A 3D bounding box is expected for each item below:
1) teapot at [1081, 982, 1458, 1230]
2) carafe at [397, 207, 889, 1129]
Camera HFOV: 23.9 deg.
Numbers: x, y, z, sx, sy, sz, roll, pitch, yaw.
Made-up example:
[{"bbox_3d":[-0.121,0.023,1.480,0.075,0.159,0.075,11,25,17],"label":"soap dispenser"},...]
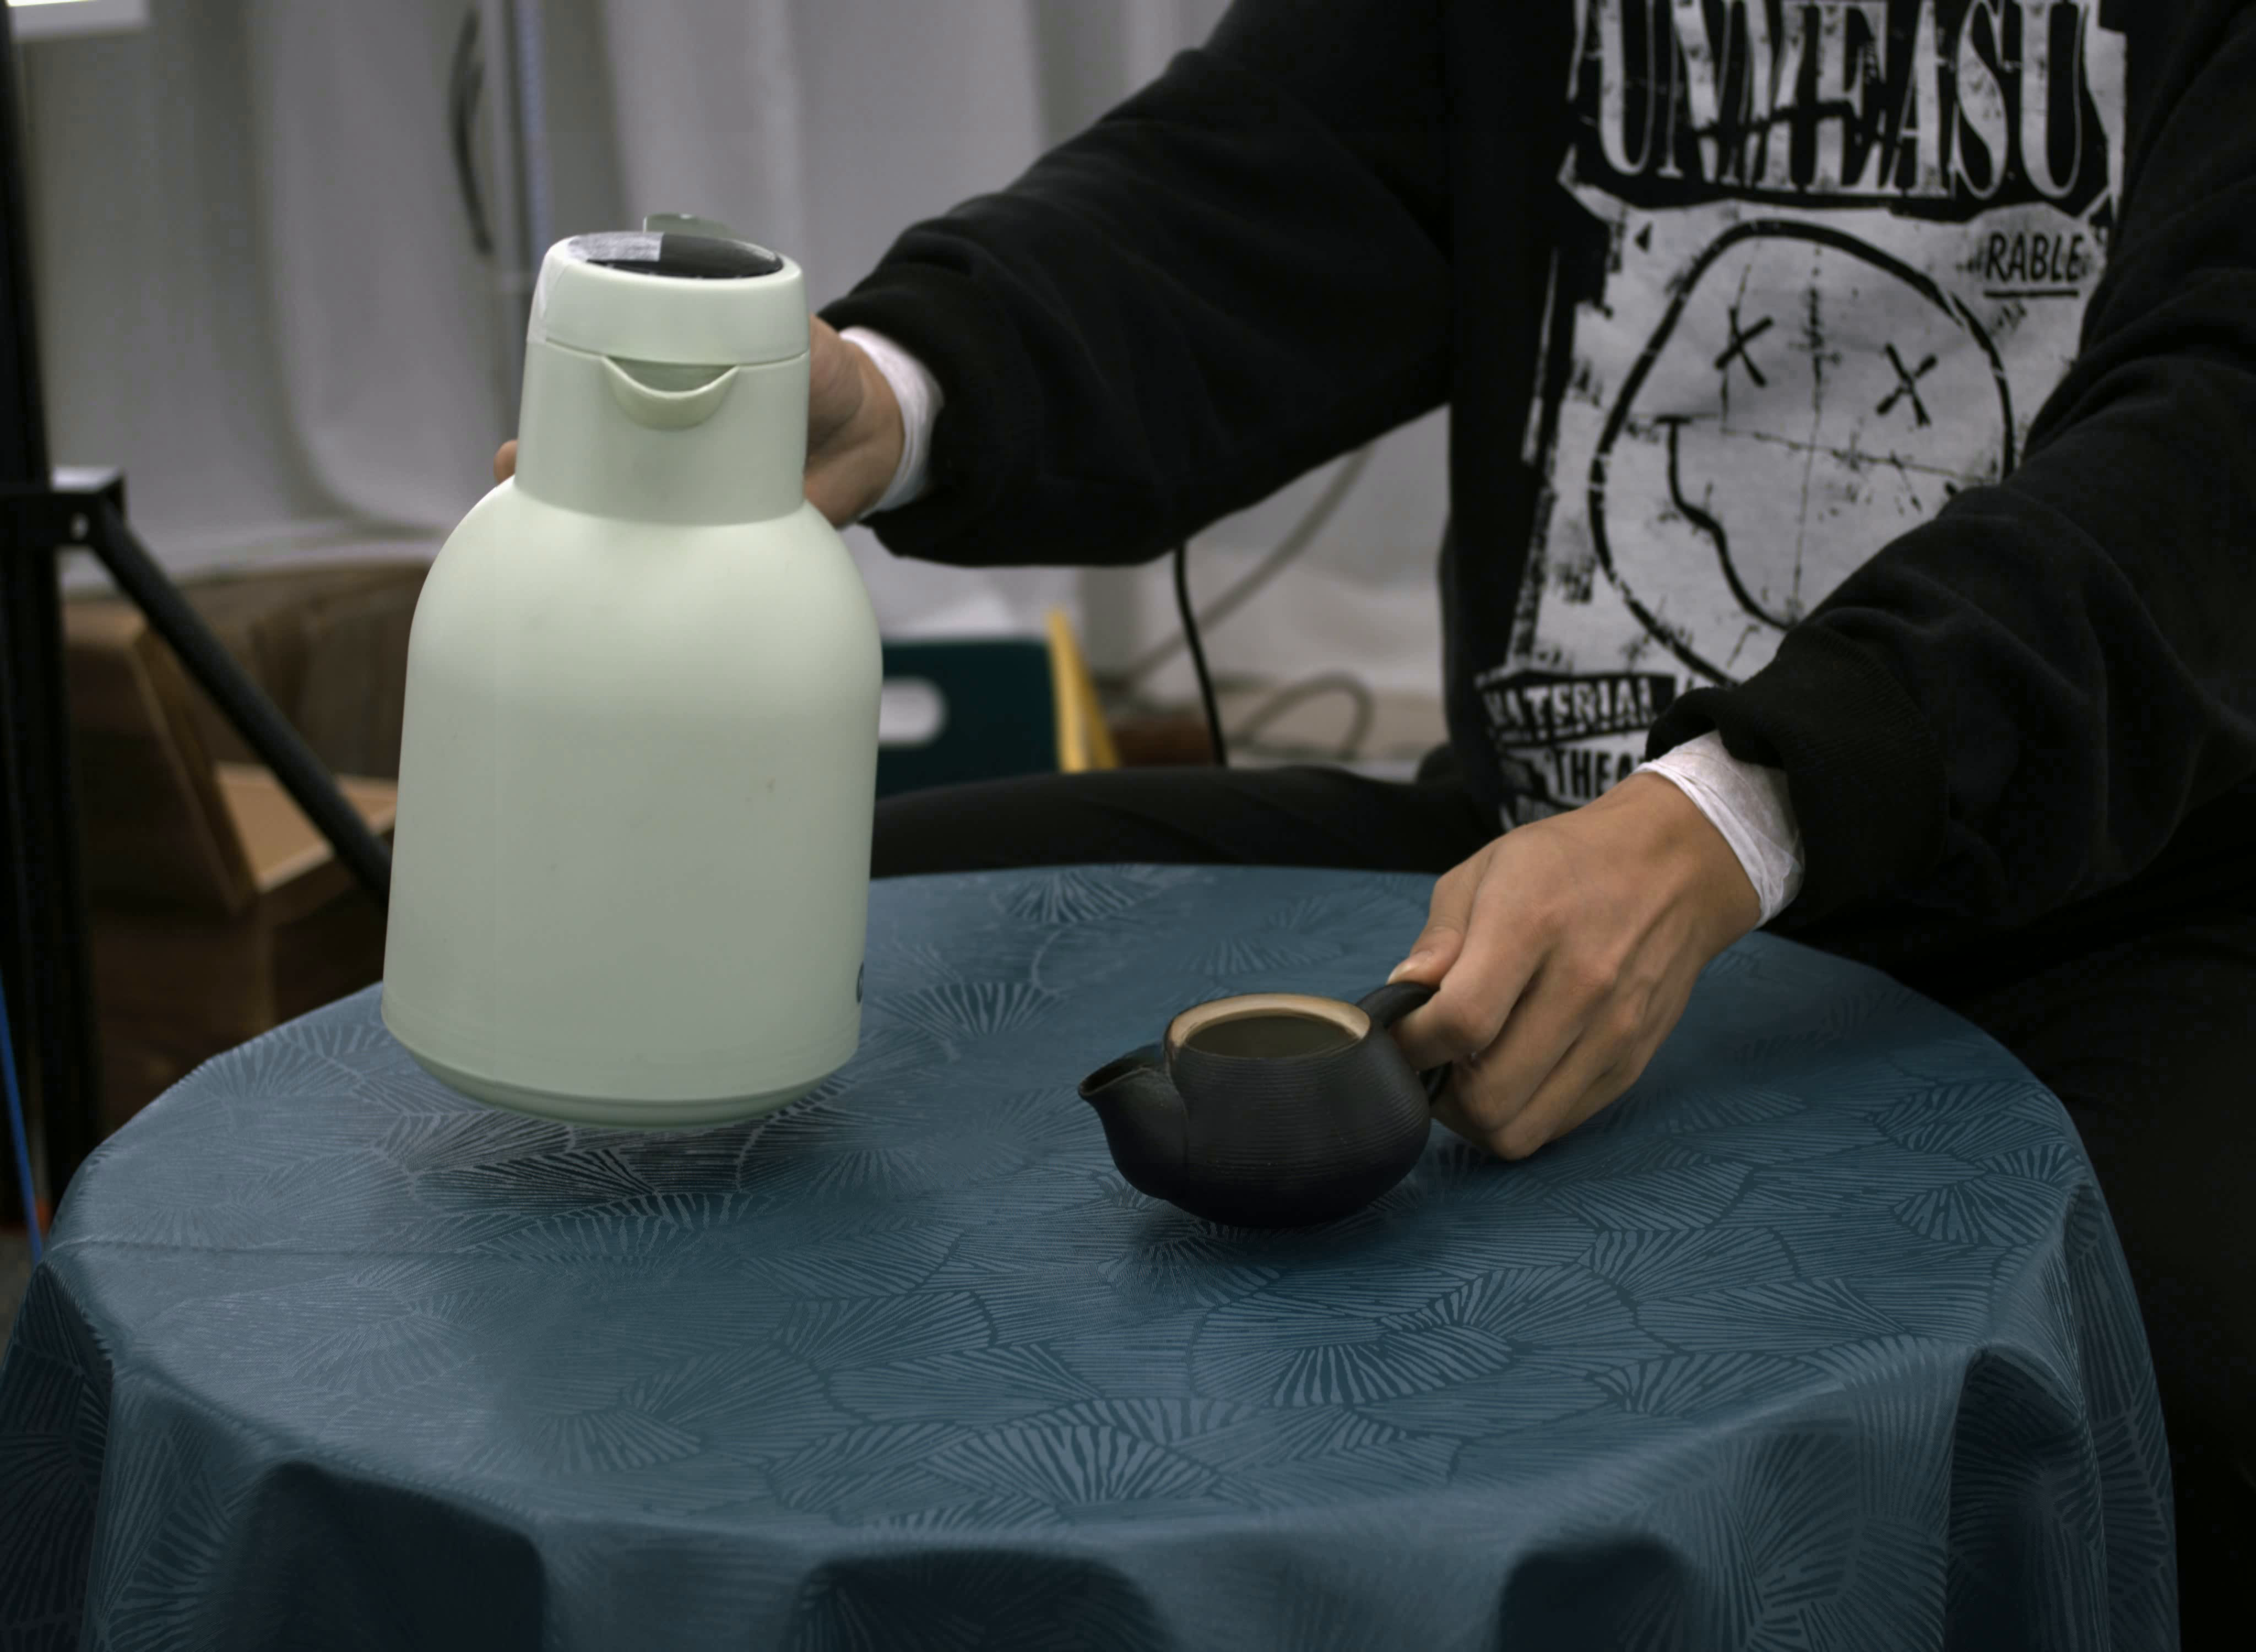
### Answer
[{"bbox_3d":[0.043,0.081,1.521,0.130,0.053,0.093,-15,22,-32],"label":"teapot"},{"bbox_3d":[-0.142,-0.052,1.601,0.143,0.257,0.188,3,12,-6],"label":"carafe"}]
